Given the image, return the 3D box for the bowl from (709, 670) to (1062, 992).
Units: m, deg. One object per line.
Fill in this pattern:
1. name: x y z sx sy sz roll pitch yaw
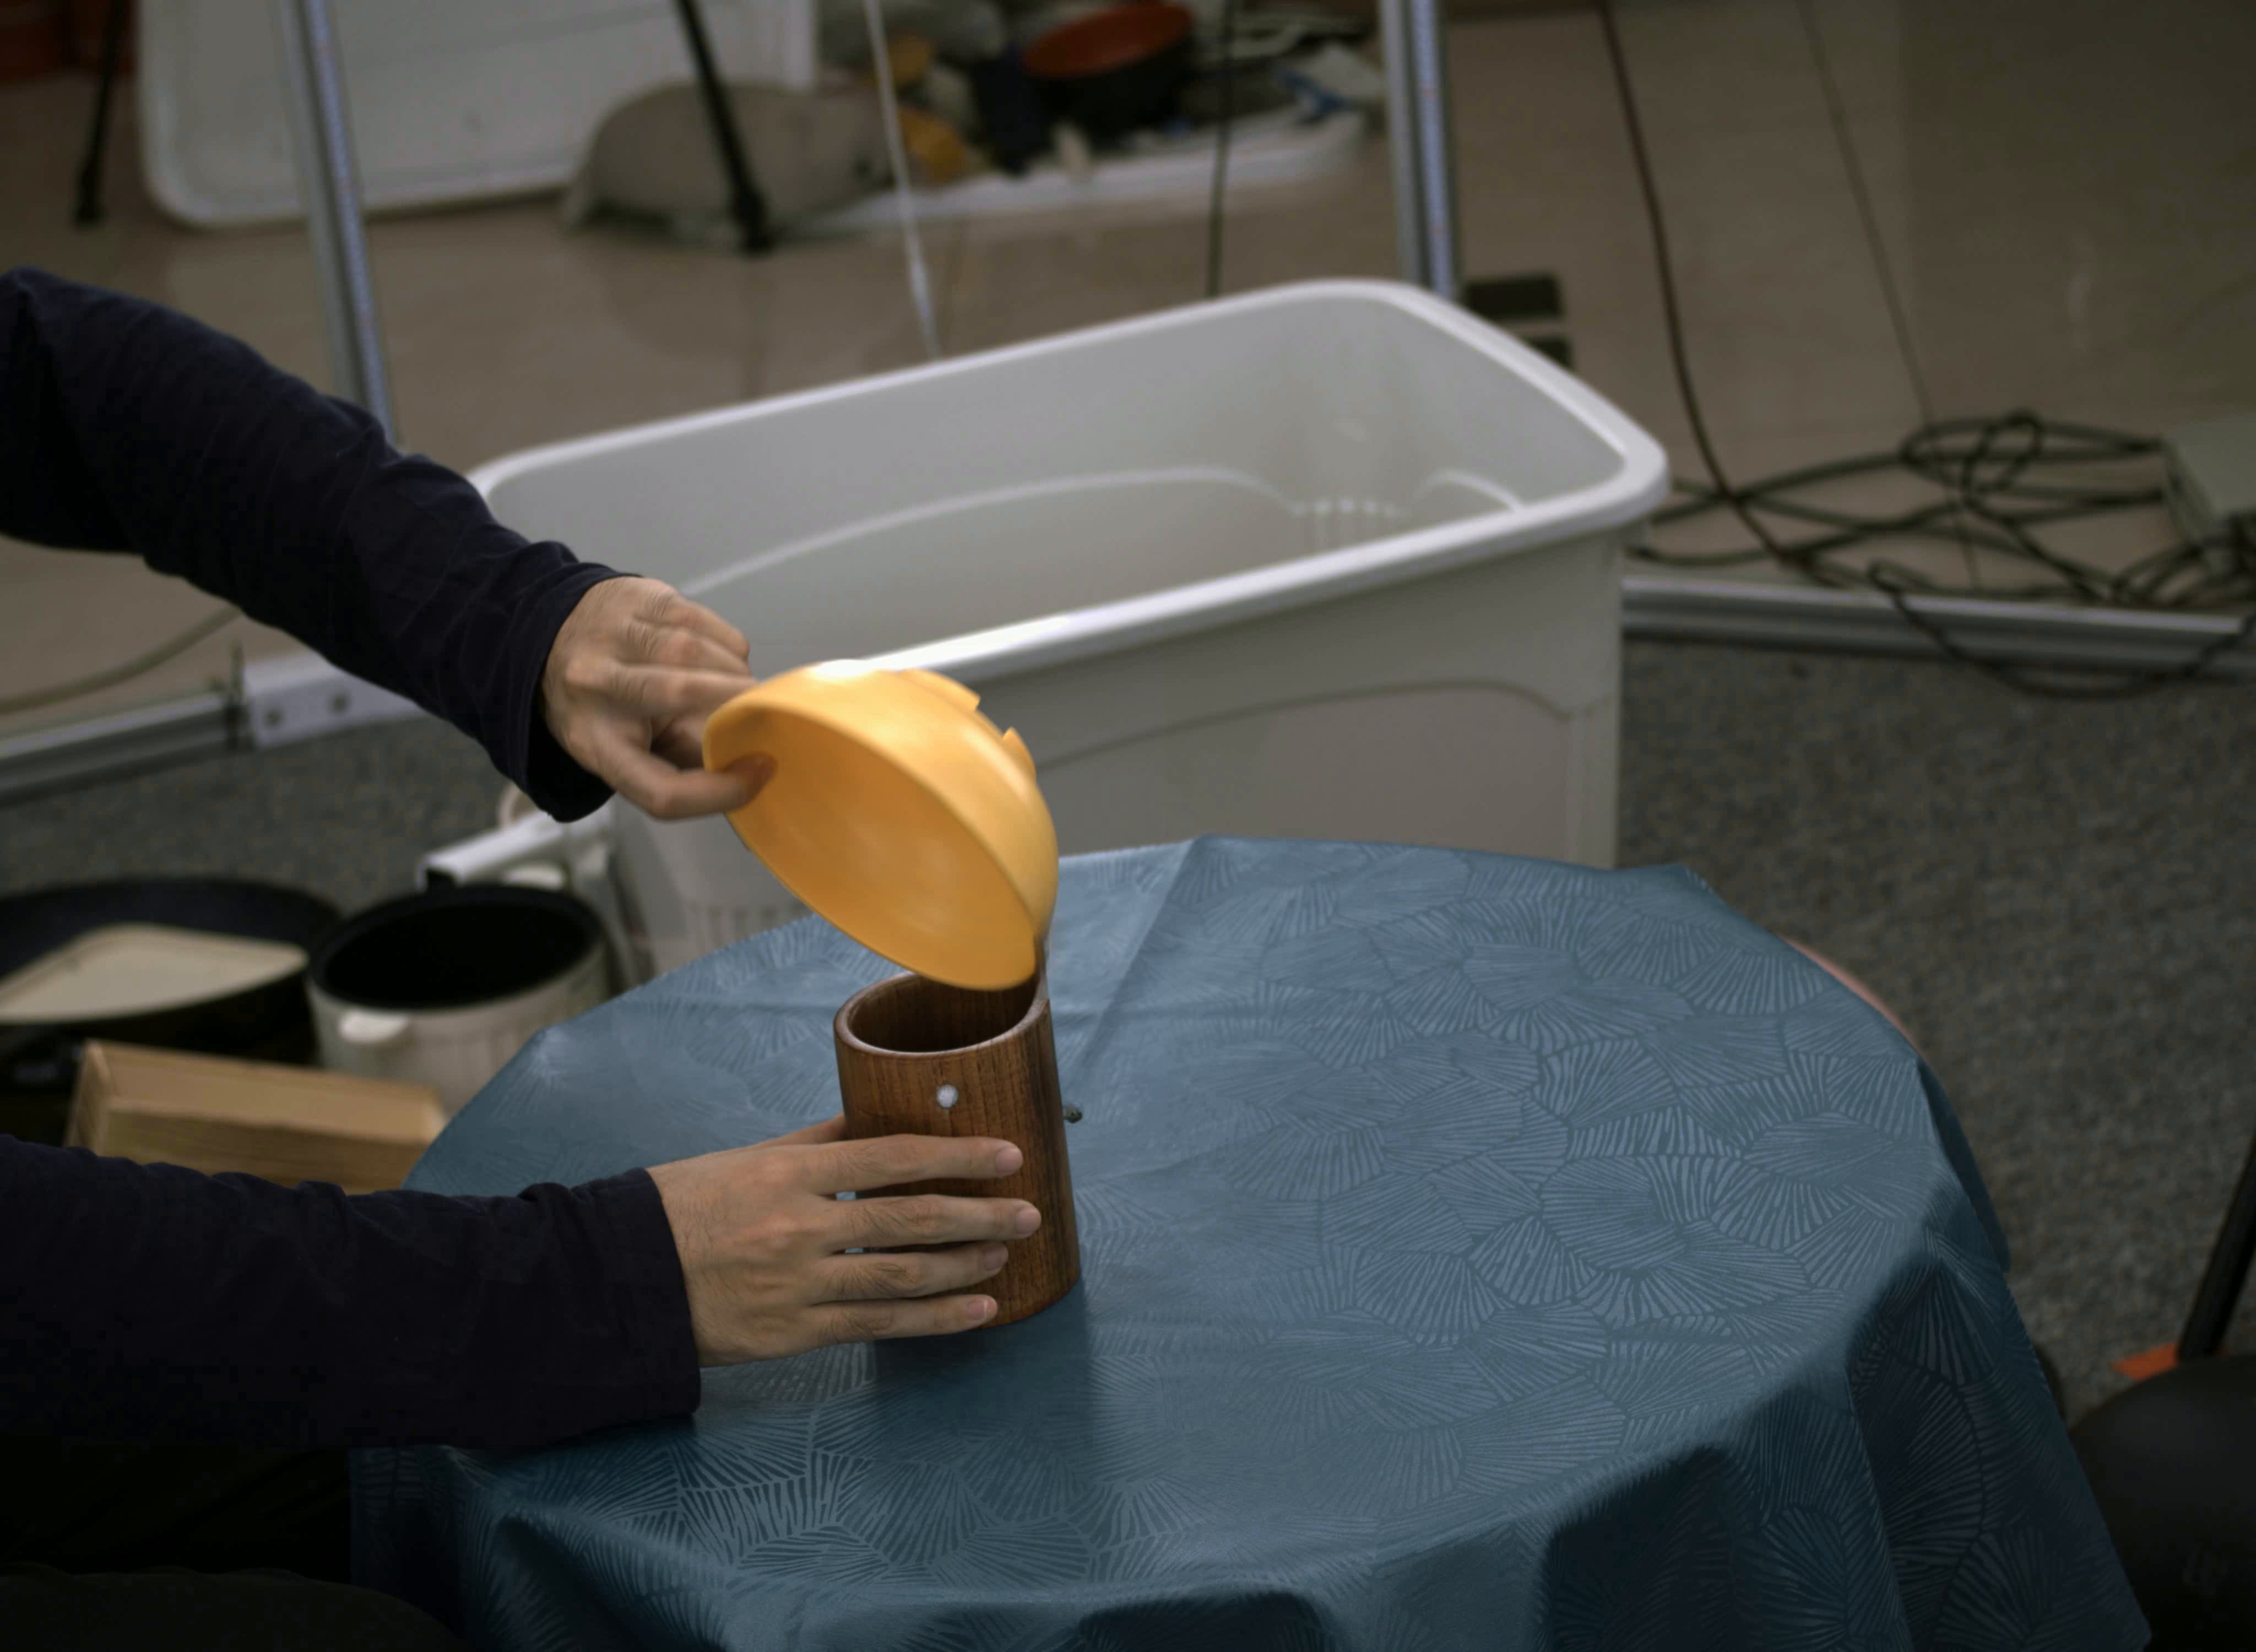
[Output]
1. bowl: -0.074 -0.011 2.011 0.144 0.148 0.059 17 61 41

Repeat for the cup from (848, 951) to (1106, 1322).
1. cup: -0.054 0.112 2.077 0.087 0.120 0.086 -6 22 2
